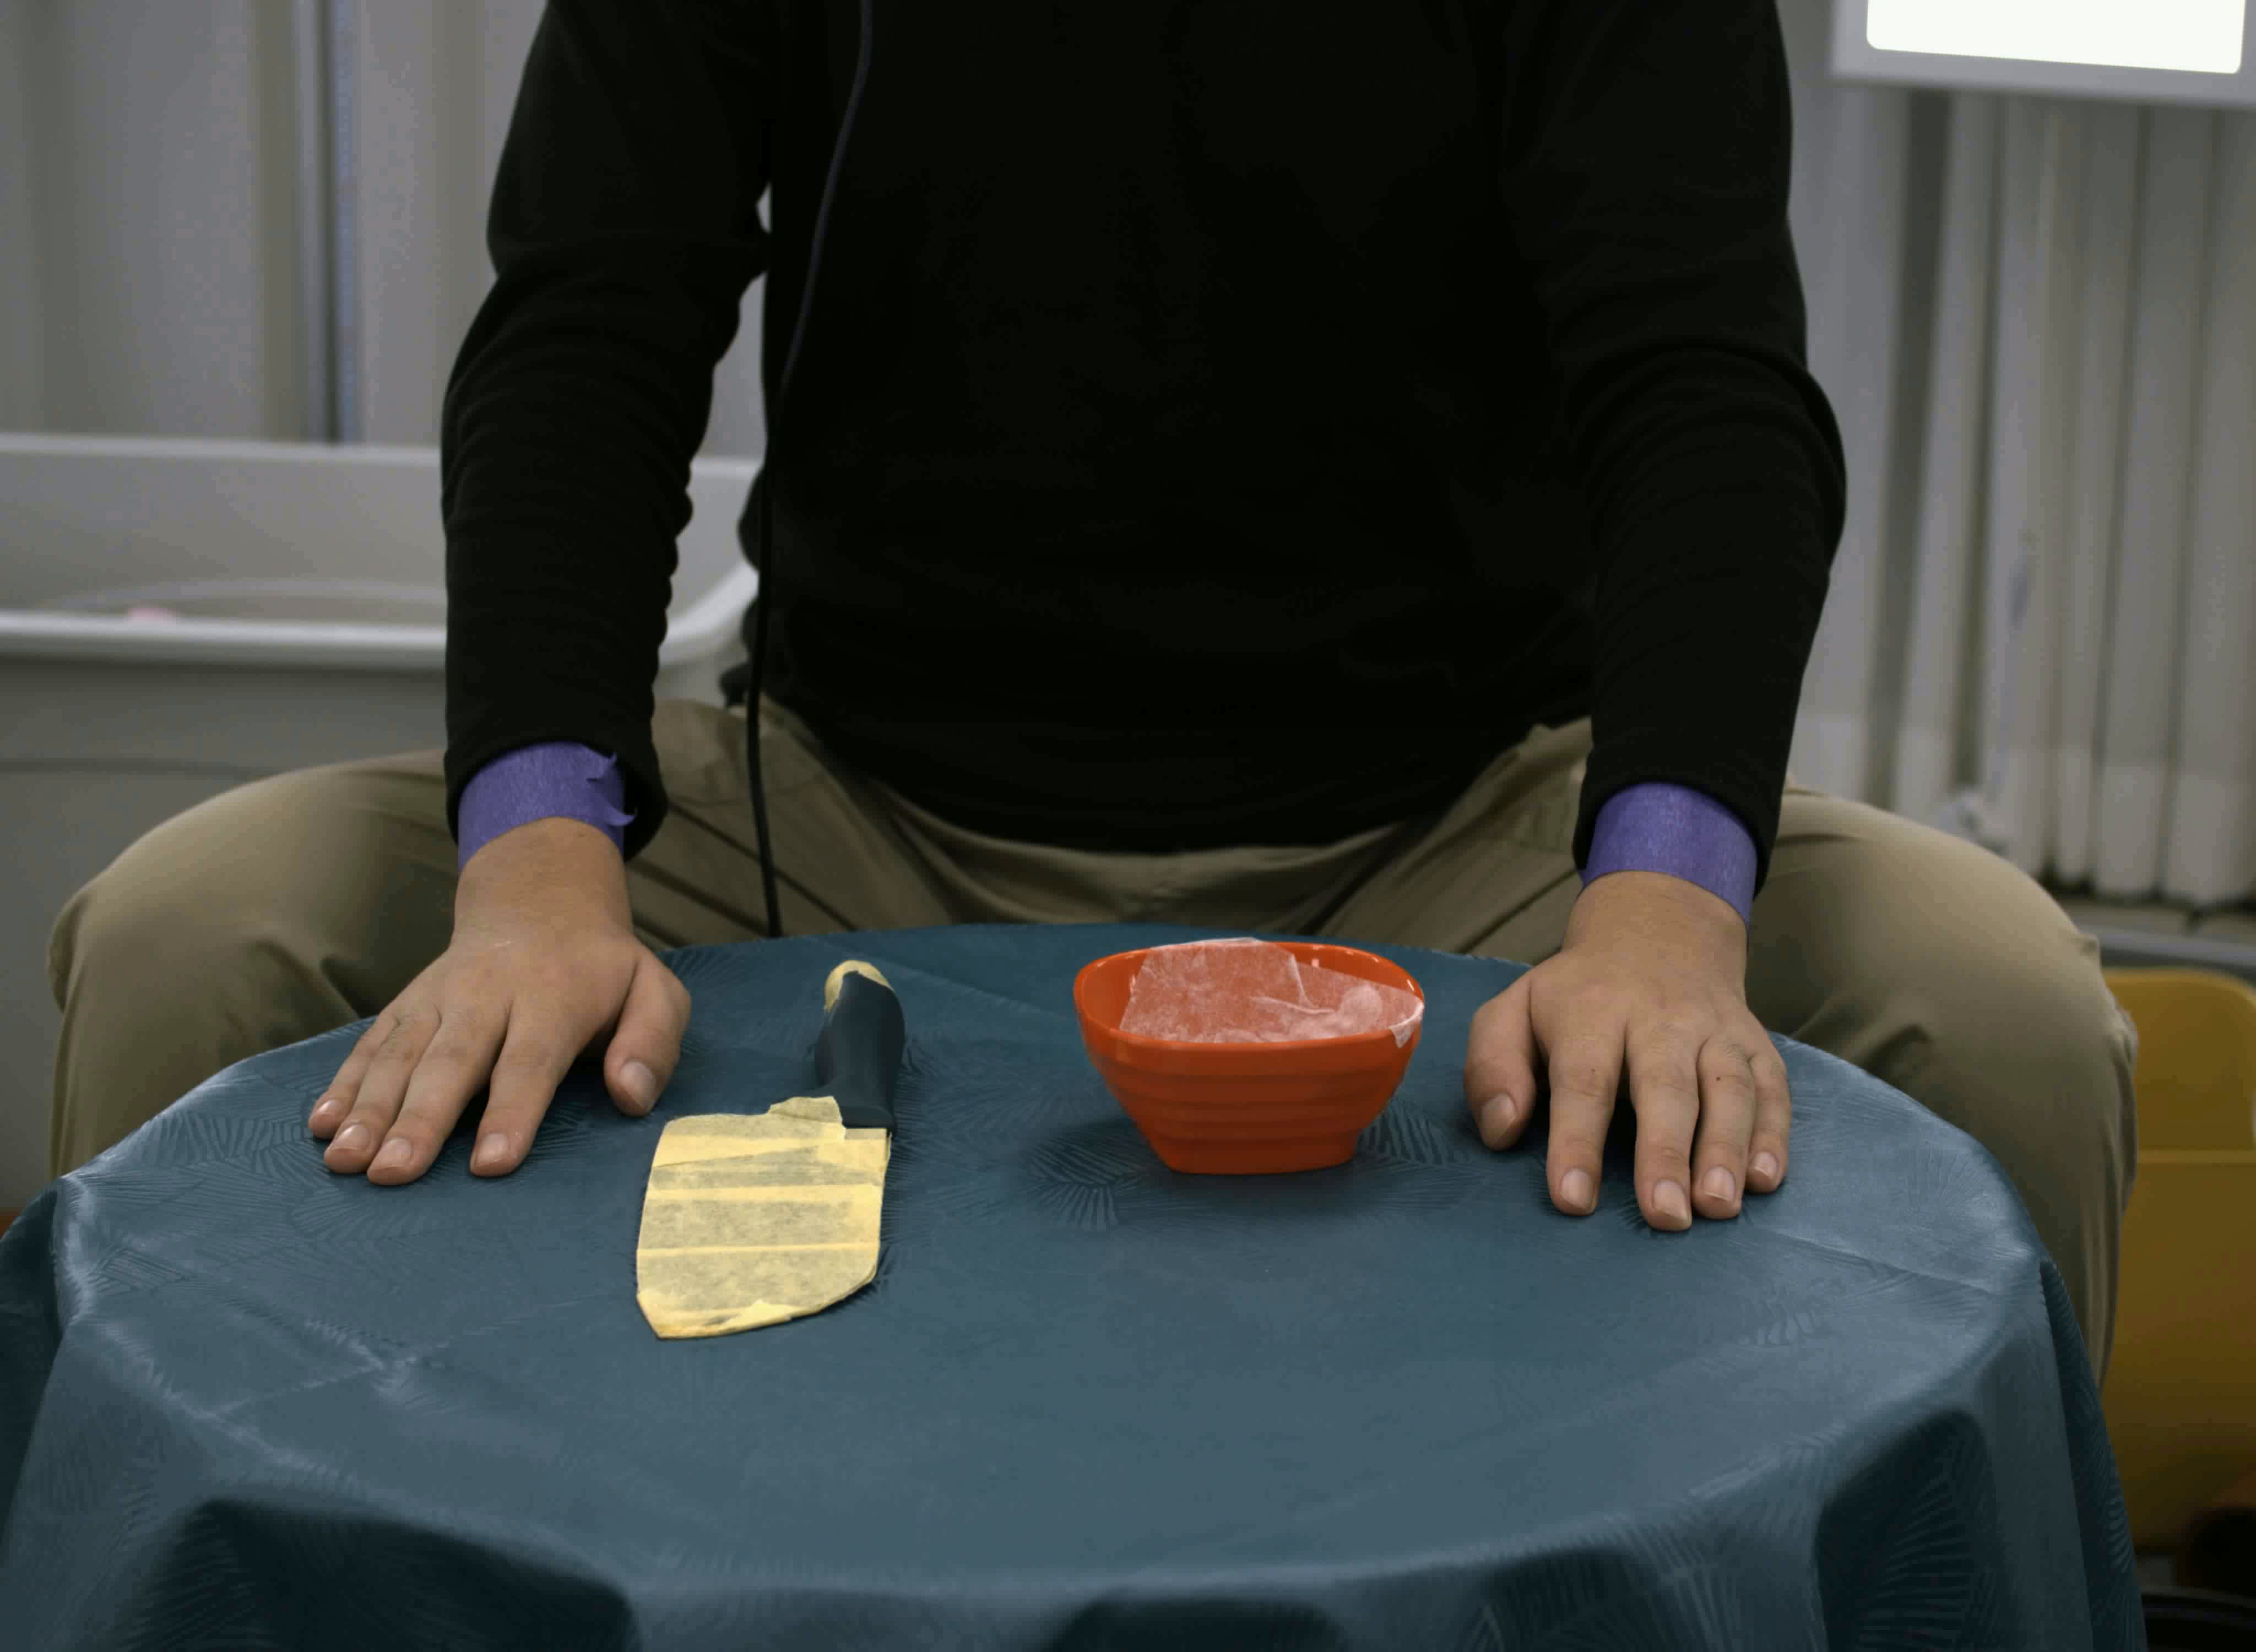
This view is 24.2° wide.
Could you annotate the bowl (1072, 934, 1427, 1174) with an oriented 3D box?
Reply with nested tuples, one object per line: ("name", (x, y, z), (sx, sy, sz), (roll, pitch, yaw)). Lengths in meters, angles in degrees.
("bowl", (0.038, 0.074, 1.662), (0.118, 0.052, 0.118), (-1, 17, 1))

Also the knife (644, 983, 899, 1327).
("knife", (-0.107, 0.101, 1.634), (0.081, 0.027, 0.288), (3, 17, 2))
